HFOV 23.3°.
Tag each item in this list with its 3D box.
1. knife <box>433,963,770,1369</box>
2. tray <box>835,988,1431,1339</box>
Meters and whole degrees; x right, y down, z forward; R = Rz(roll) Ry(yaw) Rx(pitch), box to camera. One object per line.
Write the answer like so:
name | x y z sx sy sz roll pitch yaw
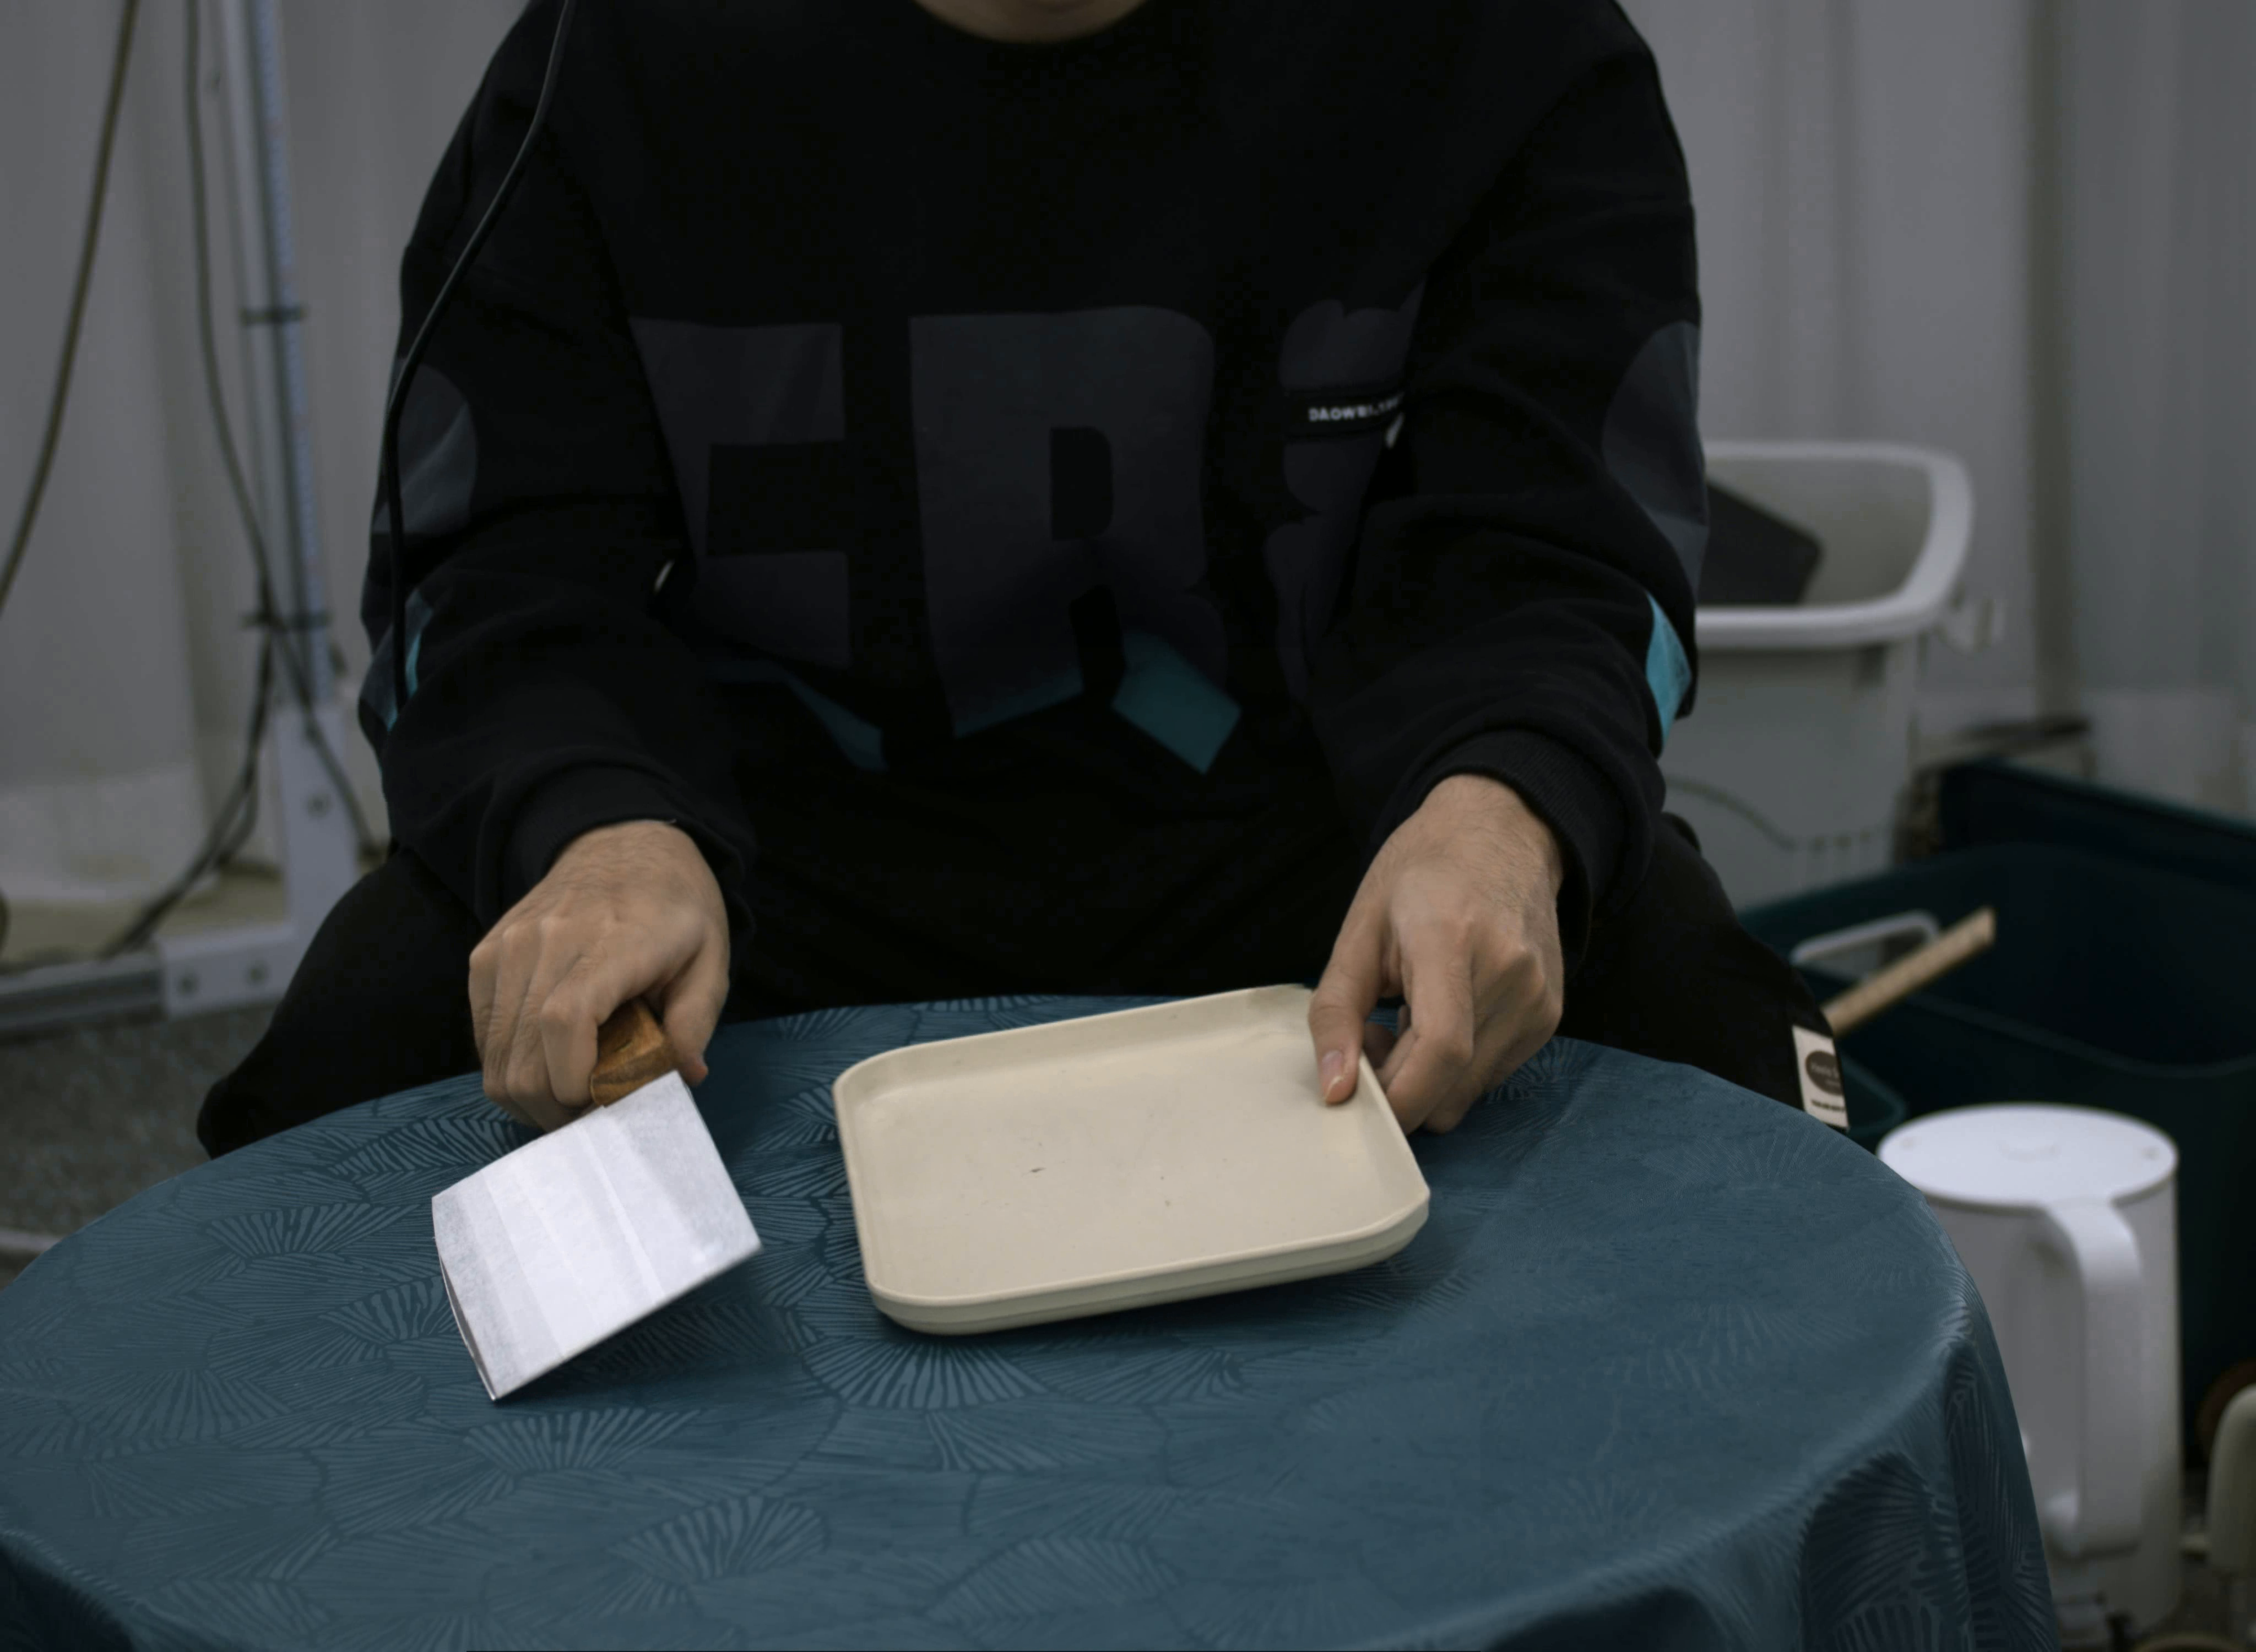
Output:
knife | -0.173 0.106 1.707 0.093 0.021 0.308 -29 18 -5
tray | -0.002 0.103 1.697 0.171 0.017 0.241 -10 16 -3
